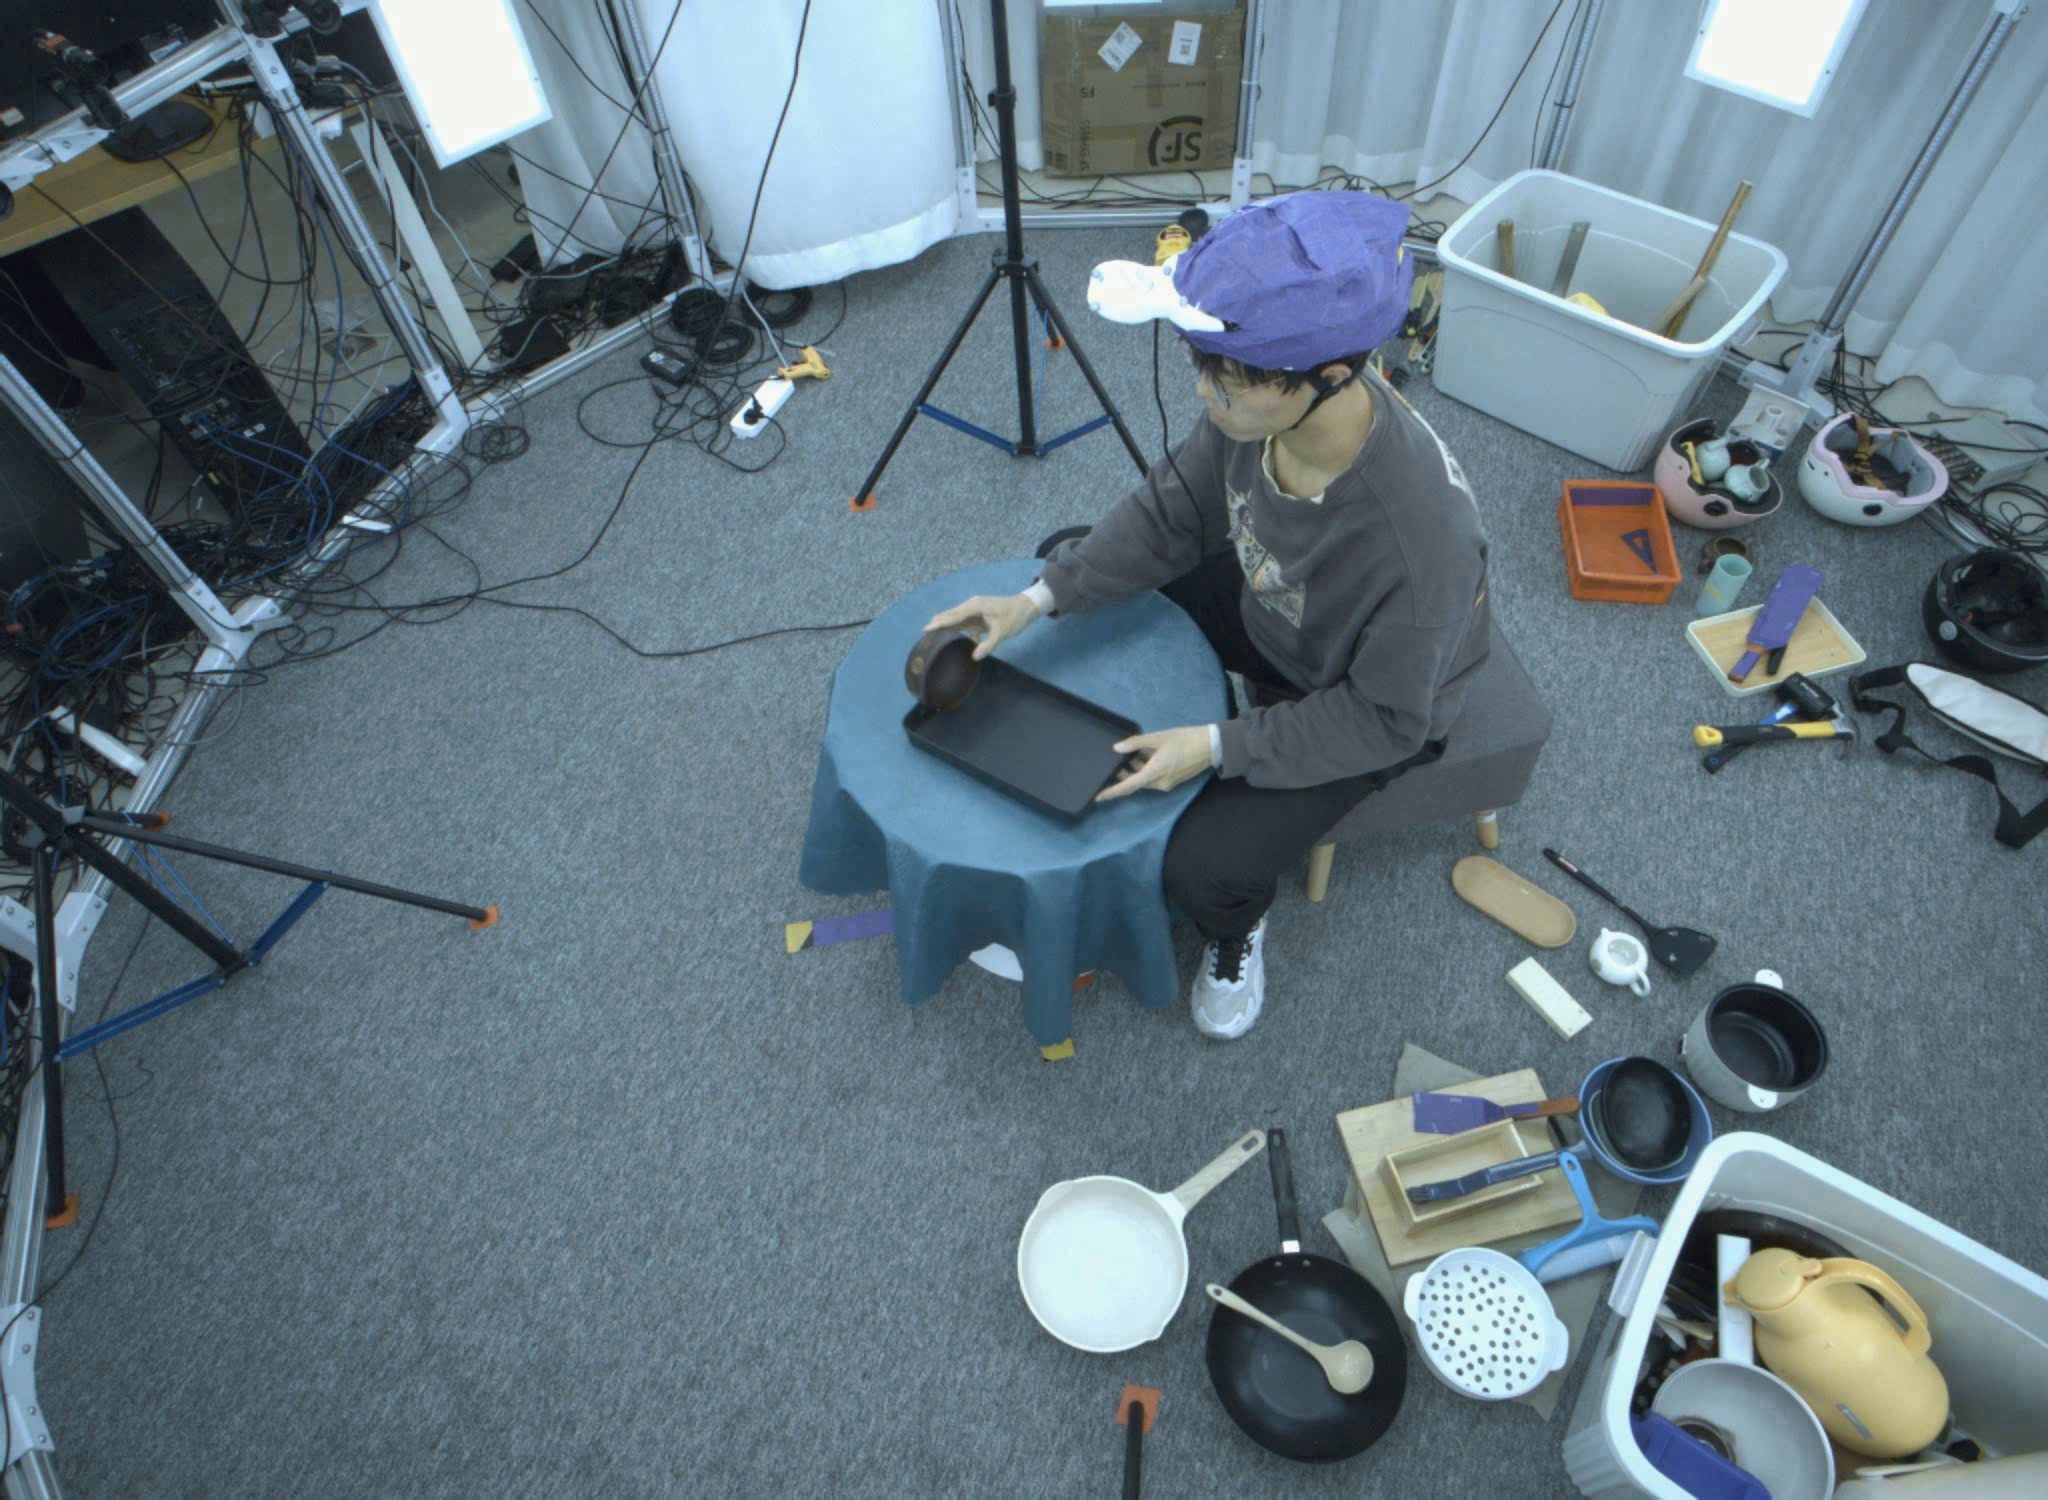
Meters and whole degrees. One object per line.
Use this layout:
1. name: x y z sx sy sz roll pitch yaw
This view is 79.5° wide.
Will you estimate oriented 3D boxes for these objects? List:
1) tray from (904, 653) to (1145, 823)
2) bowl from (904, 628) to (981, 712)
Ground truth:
1. tray: 0.000 -0.022 1.767 0.312 0.037 0.185 24 58 23
2. bowl: -0.126 -0.120 1.757 0.068 0.120 0.118 27 60 32
